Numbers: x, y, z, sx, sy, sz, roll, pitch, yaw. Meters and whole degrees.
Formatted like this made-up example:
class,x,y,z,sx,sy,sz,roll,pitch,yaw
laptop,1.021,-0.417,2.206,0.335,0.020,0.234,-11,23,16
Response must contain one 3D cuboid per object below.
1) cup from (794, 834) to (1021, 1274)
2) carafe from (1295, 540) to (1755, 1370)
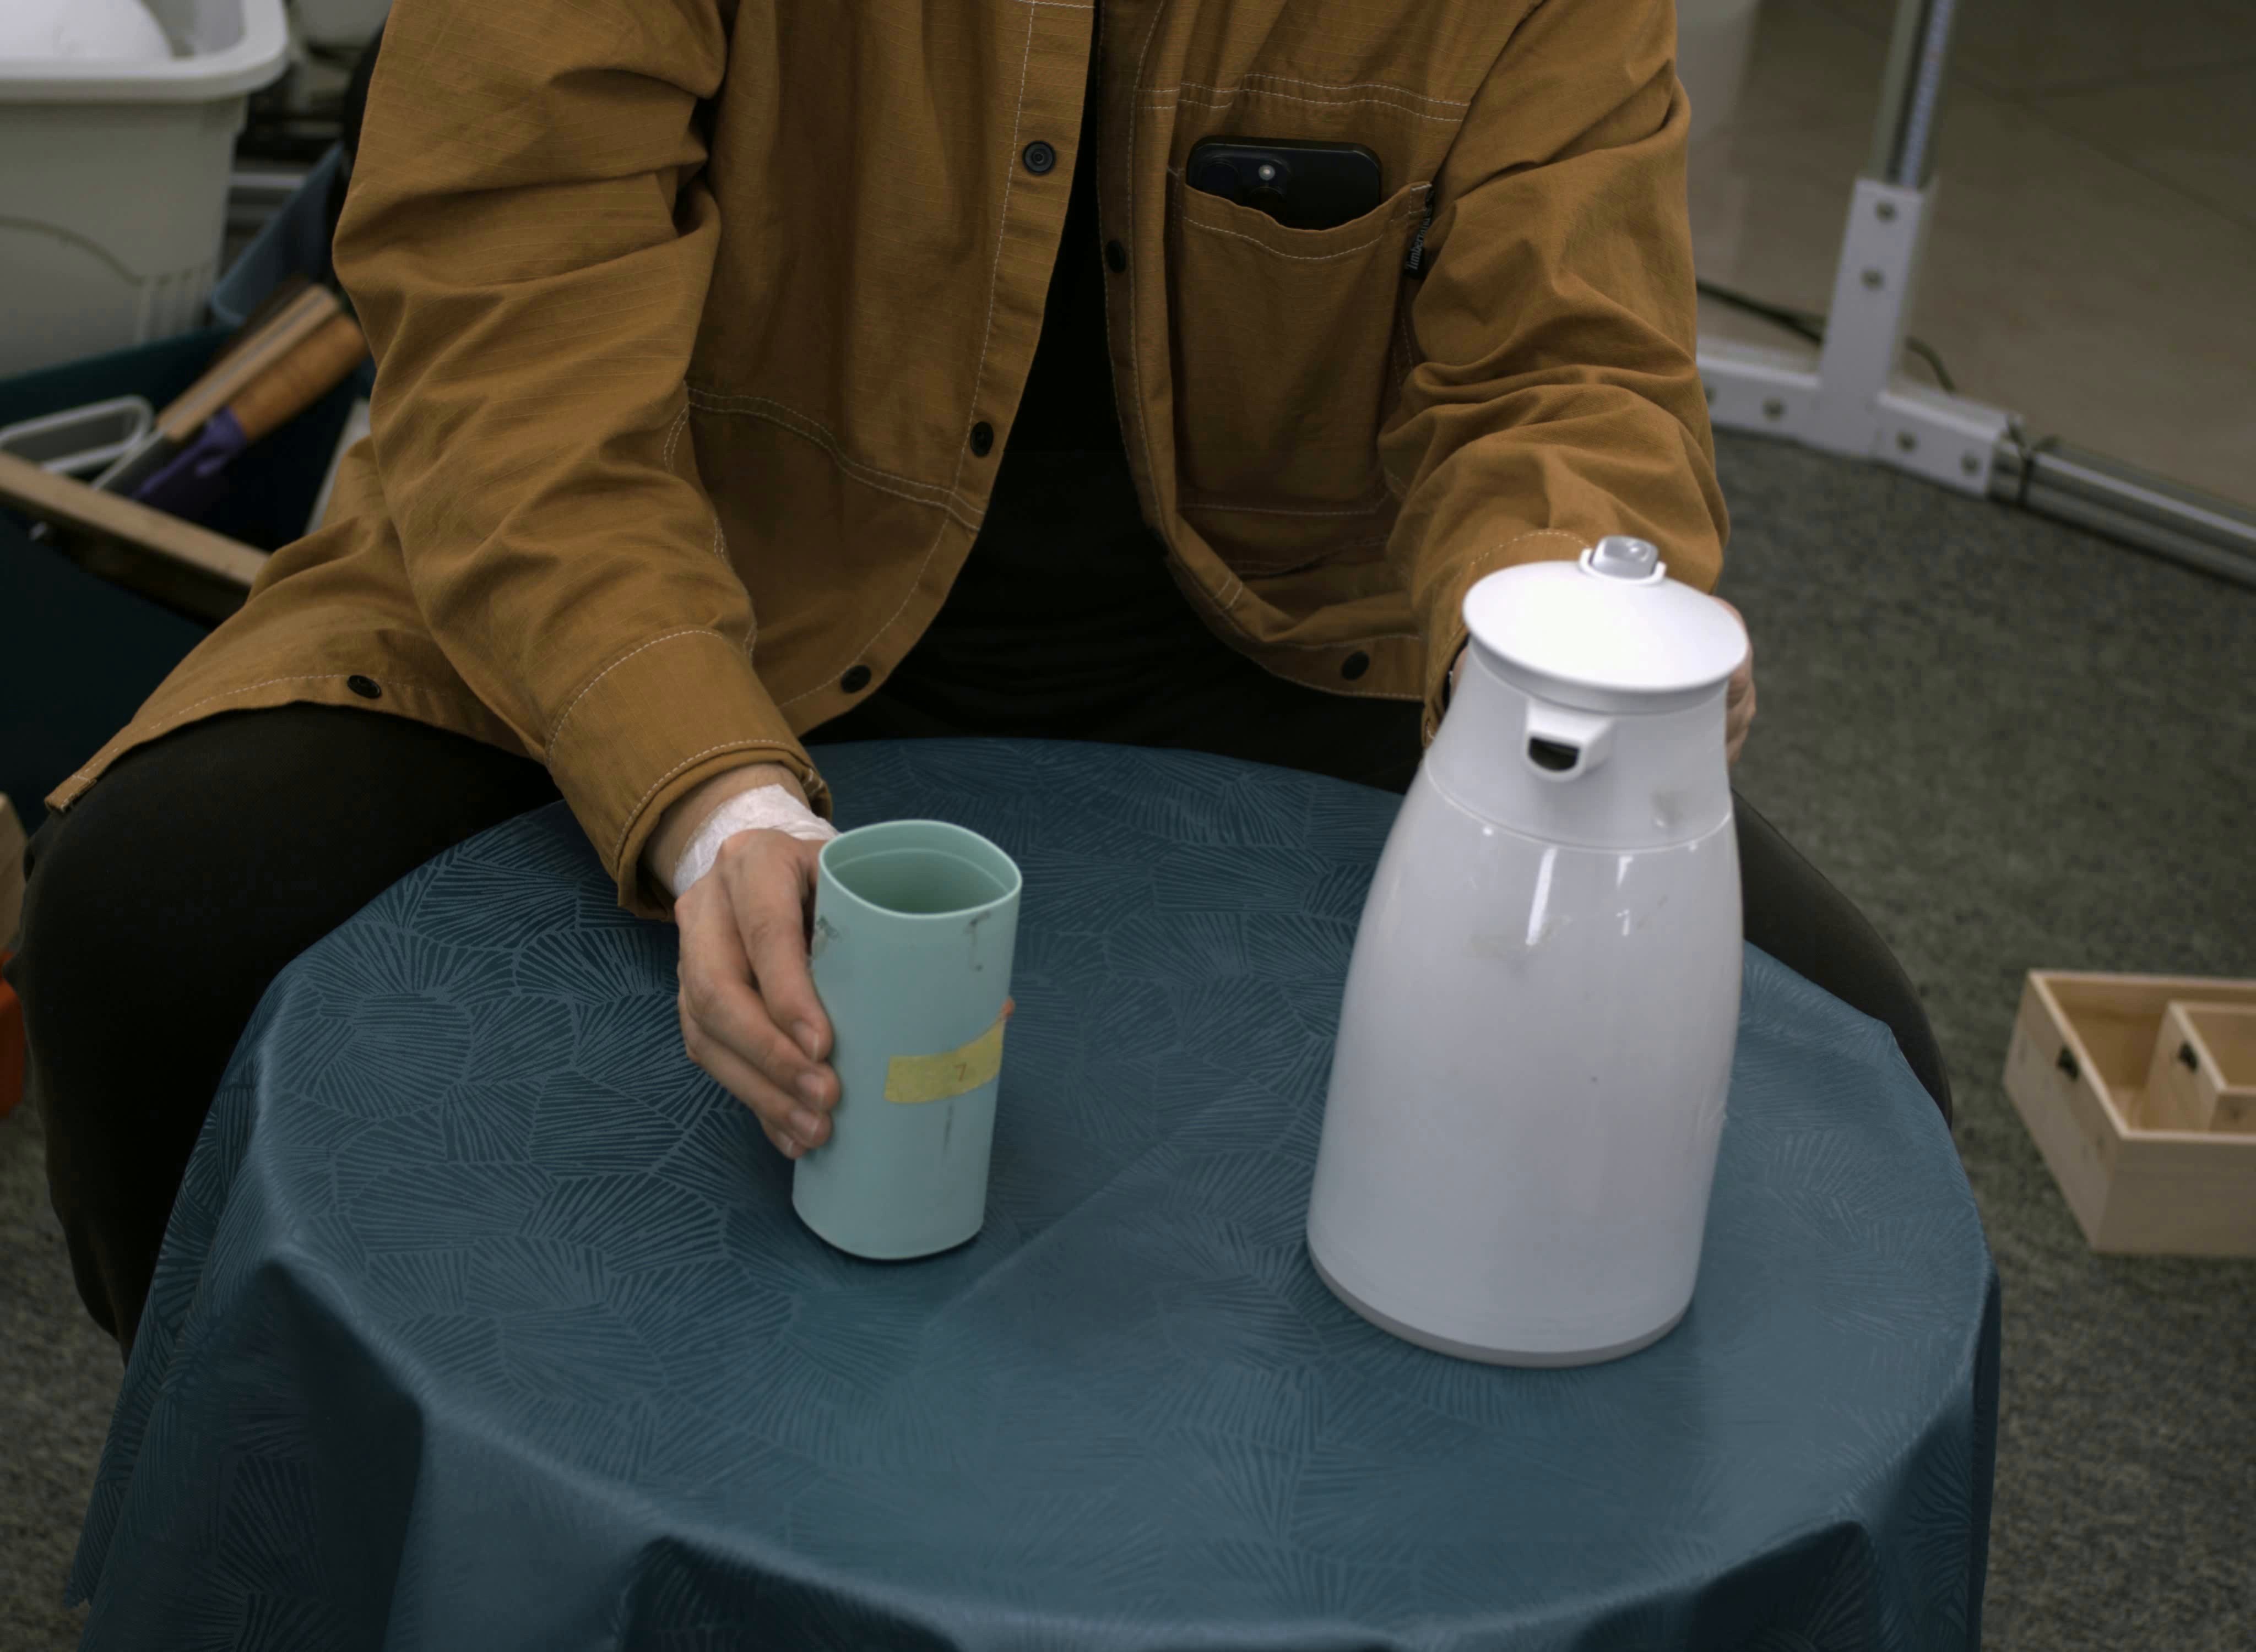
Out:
class,x,y,z,sx,sy,sz,roll,pitch,yaw
cup,-0.074,0.074,1.745,0.066,0.132,0.067,5,27,-3
carafe,0.142,0.031,1.751,0.132,0.248,0.168,14,26,12
